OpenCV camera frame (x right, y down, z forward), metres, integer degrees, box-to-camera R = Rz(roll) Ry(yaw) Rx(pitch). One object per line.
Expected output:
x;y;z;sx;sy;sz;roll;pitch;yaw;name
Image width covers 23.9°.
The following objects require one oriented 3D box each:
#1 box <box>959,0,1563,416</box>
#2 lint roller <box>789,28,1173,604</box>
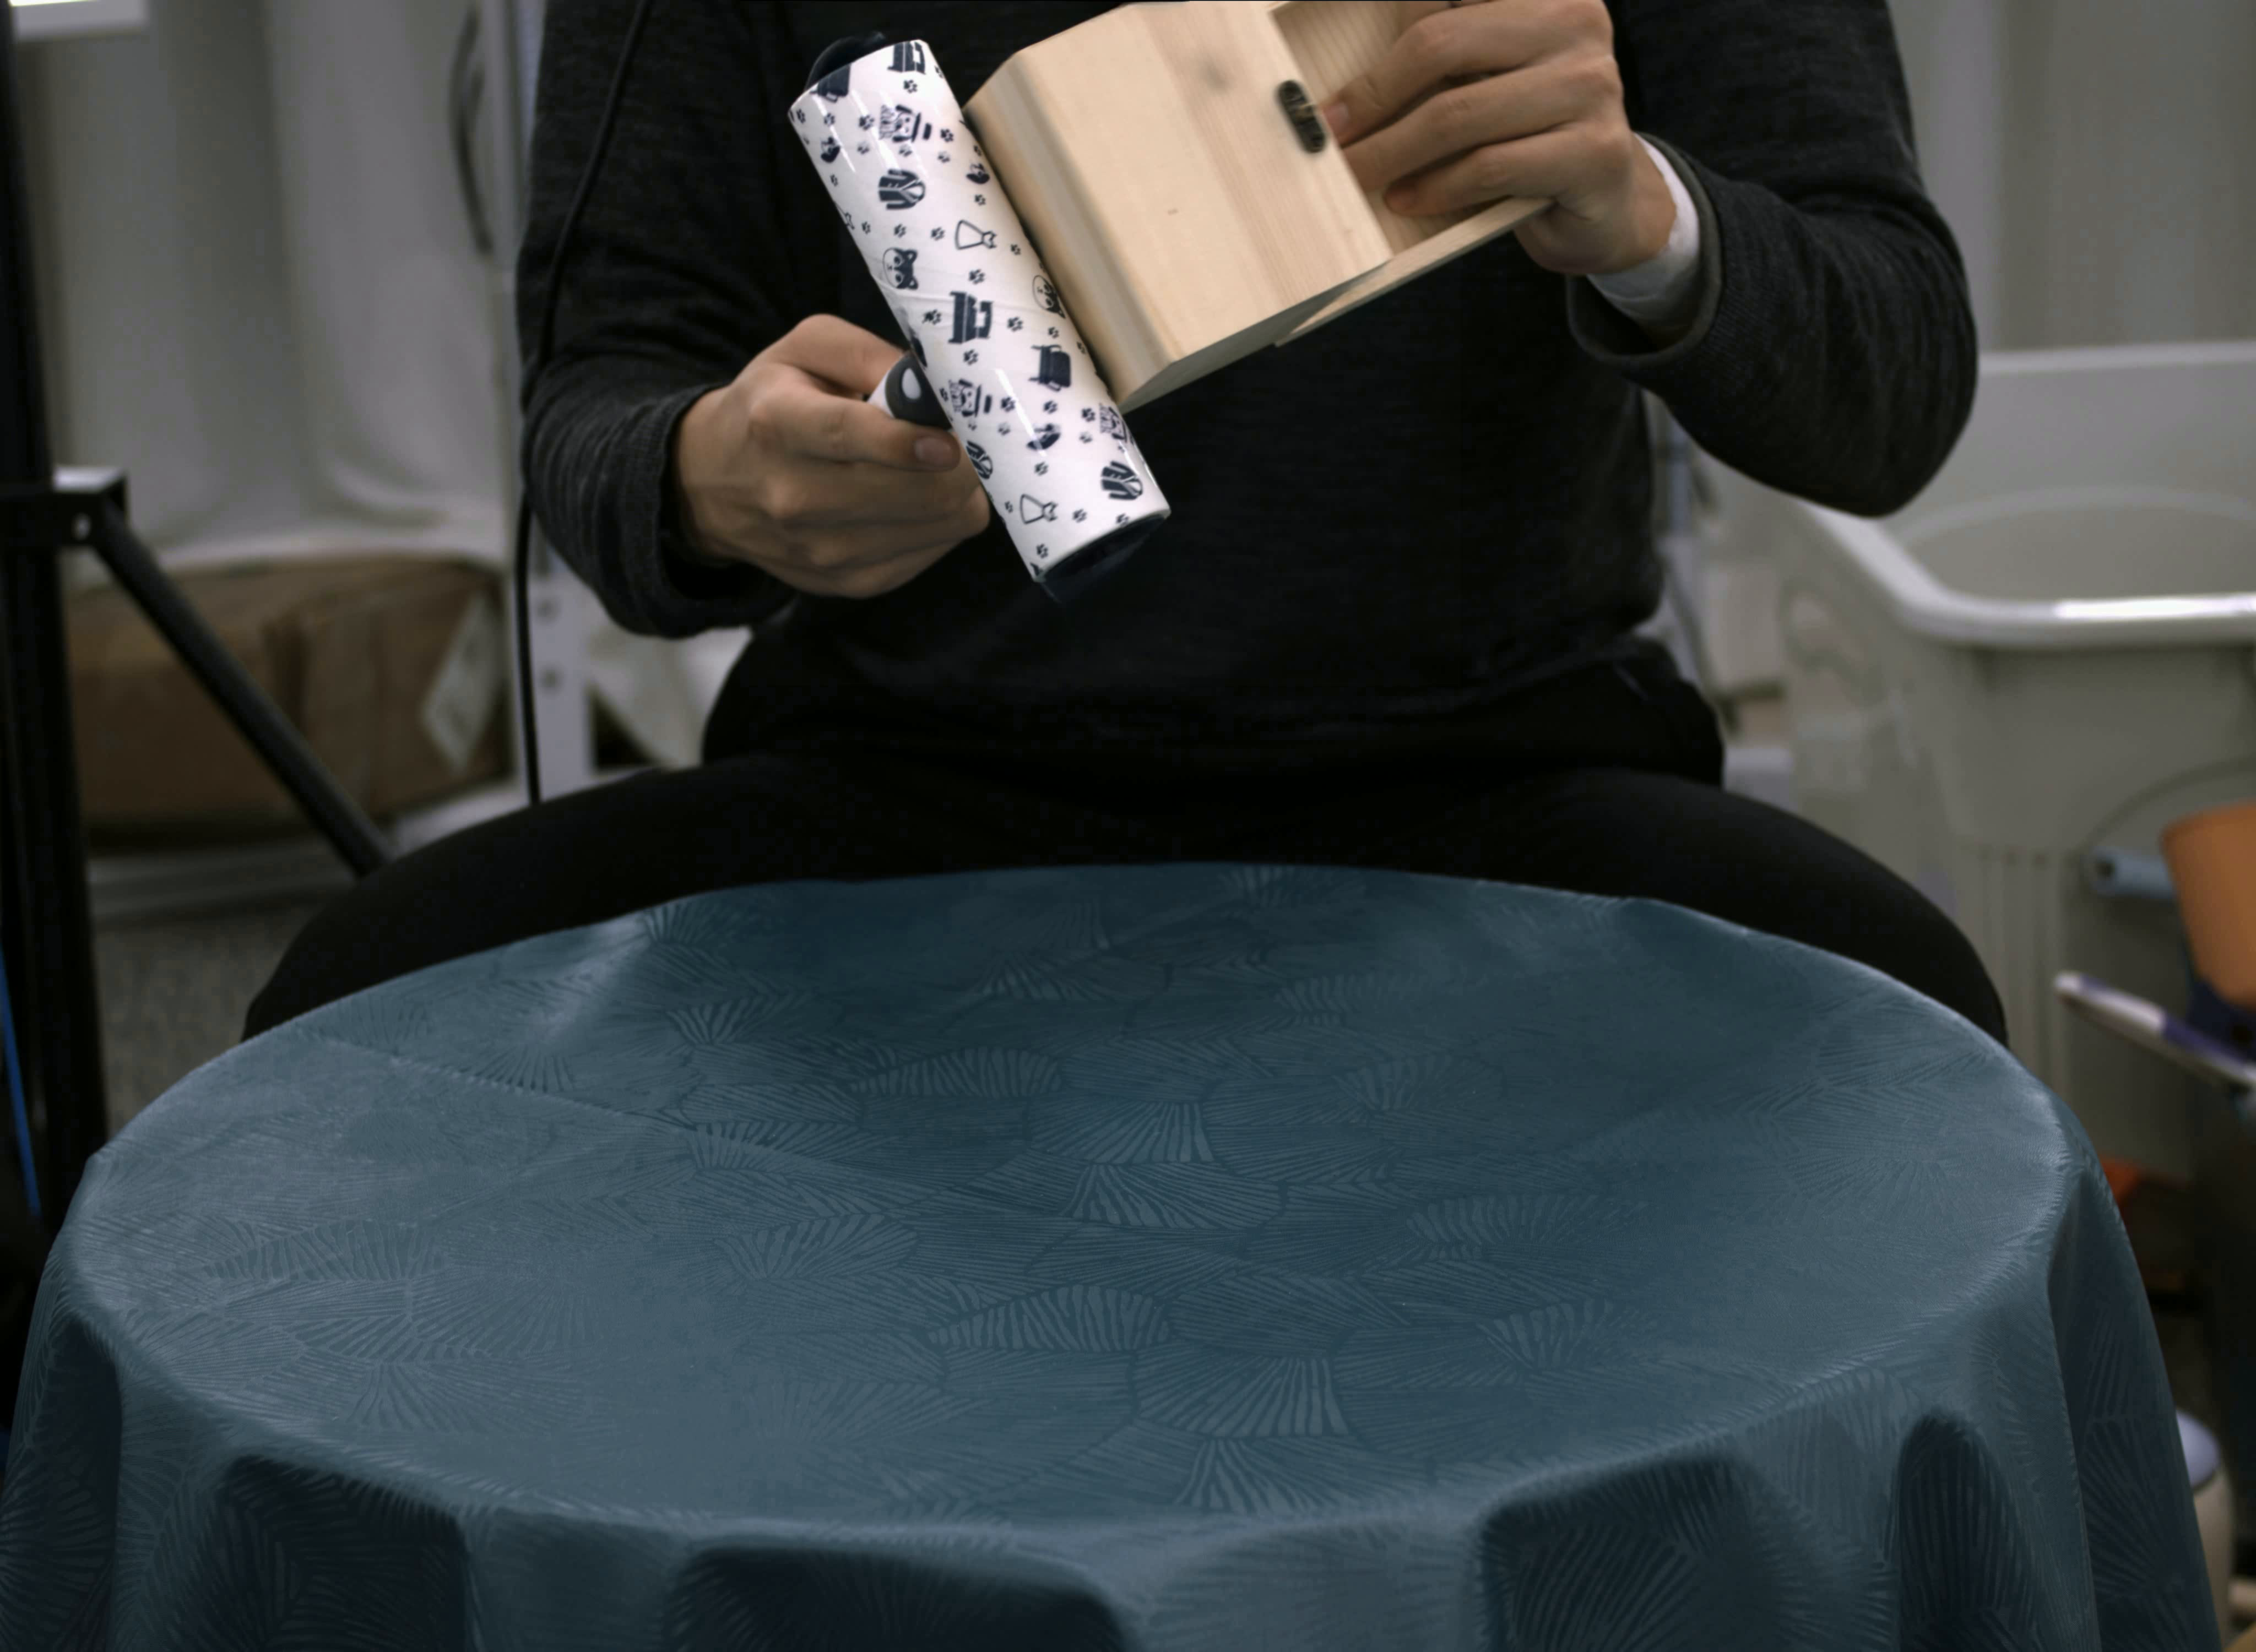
0.052;-0.208;1.612;0.182;0.103;0.135;-26;-1;-19;box
-0.066;-0.130;1.680;0.050;0.177;0.248;-26;-7;-18;lint roller
